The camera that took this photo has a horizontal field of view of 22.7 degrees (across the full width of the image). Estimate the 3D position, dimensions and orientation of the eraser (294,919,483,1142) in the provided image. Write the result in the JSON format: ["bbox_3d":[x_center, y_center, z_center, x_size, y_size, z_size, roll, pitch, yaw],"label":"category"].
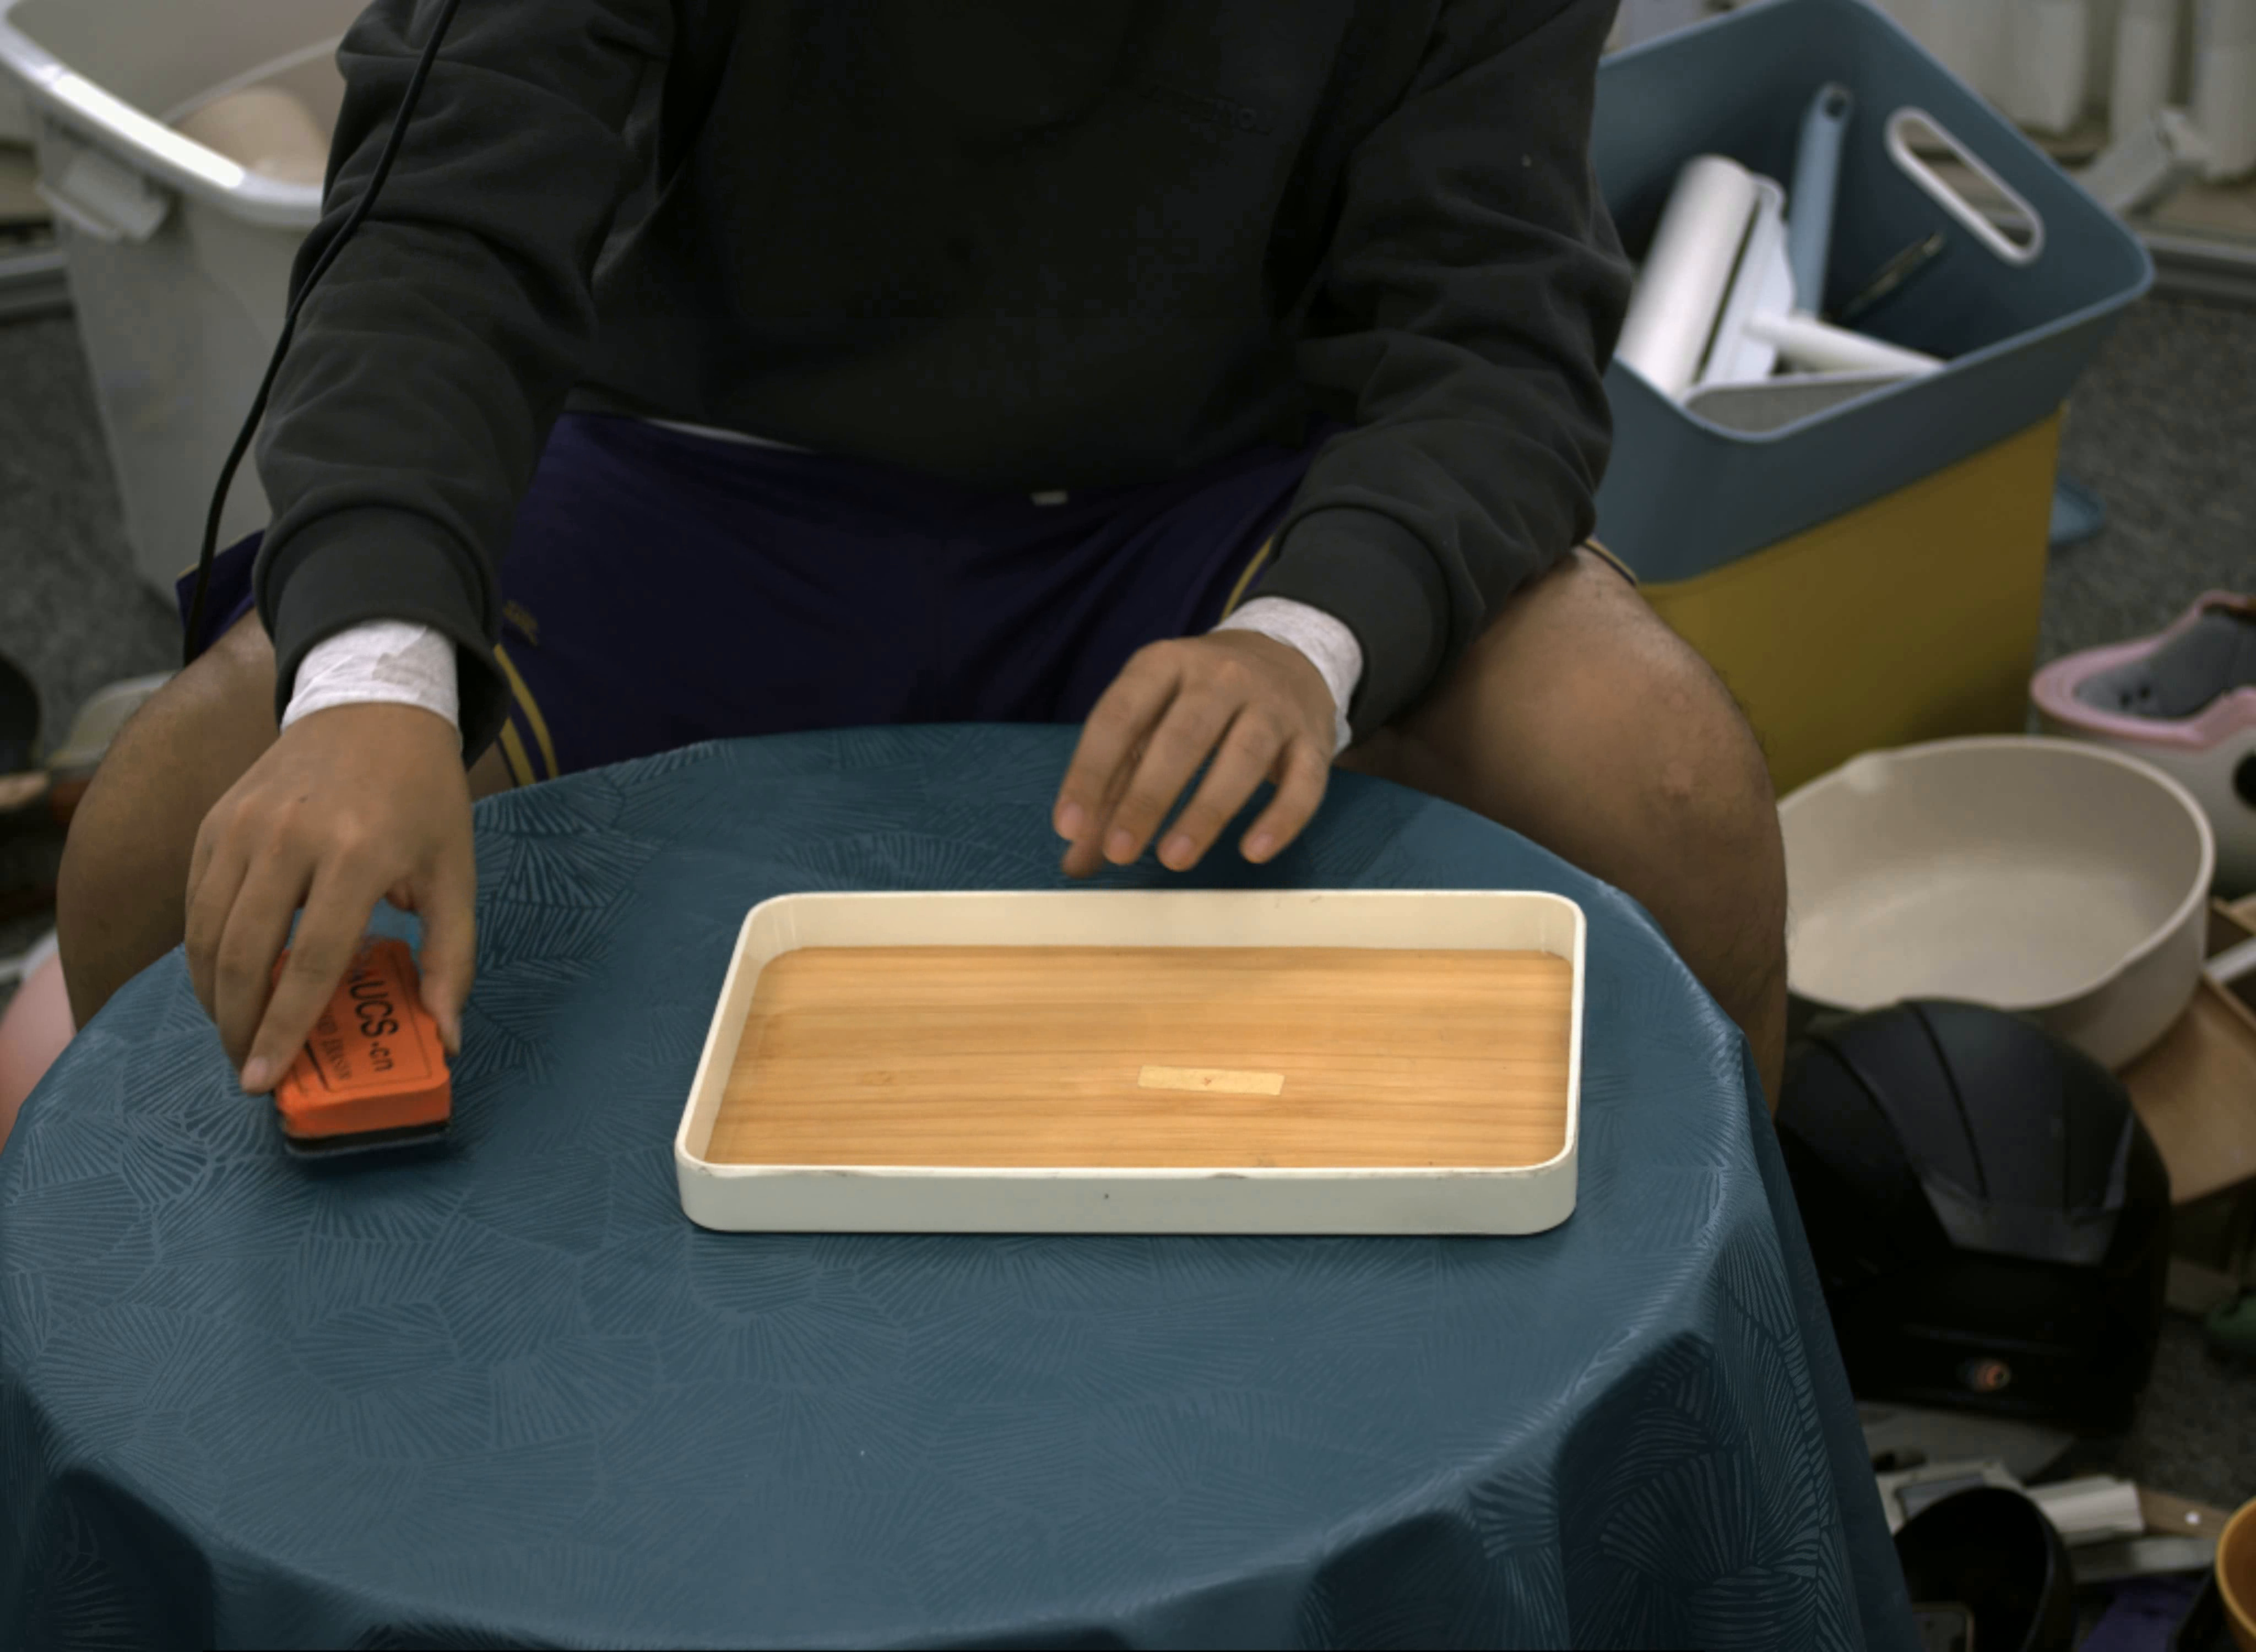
[{"bbox_3d":[-0.252,0.070,1.925,0.059,0.022,0.110,-2,30,-2],"label":"eraser"}]

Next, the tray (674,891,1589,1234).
[{"bbox_3d":[0.006,0.079,1.915,0.298,0.027,0.195,0,28,6],"label":"tray"}]
